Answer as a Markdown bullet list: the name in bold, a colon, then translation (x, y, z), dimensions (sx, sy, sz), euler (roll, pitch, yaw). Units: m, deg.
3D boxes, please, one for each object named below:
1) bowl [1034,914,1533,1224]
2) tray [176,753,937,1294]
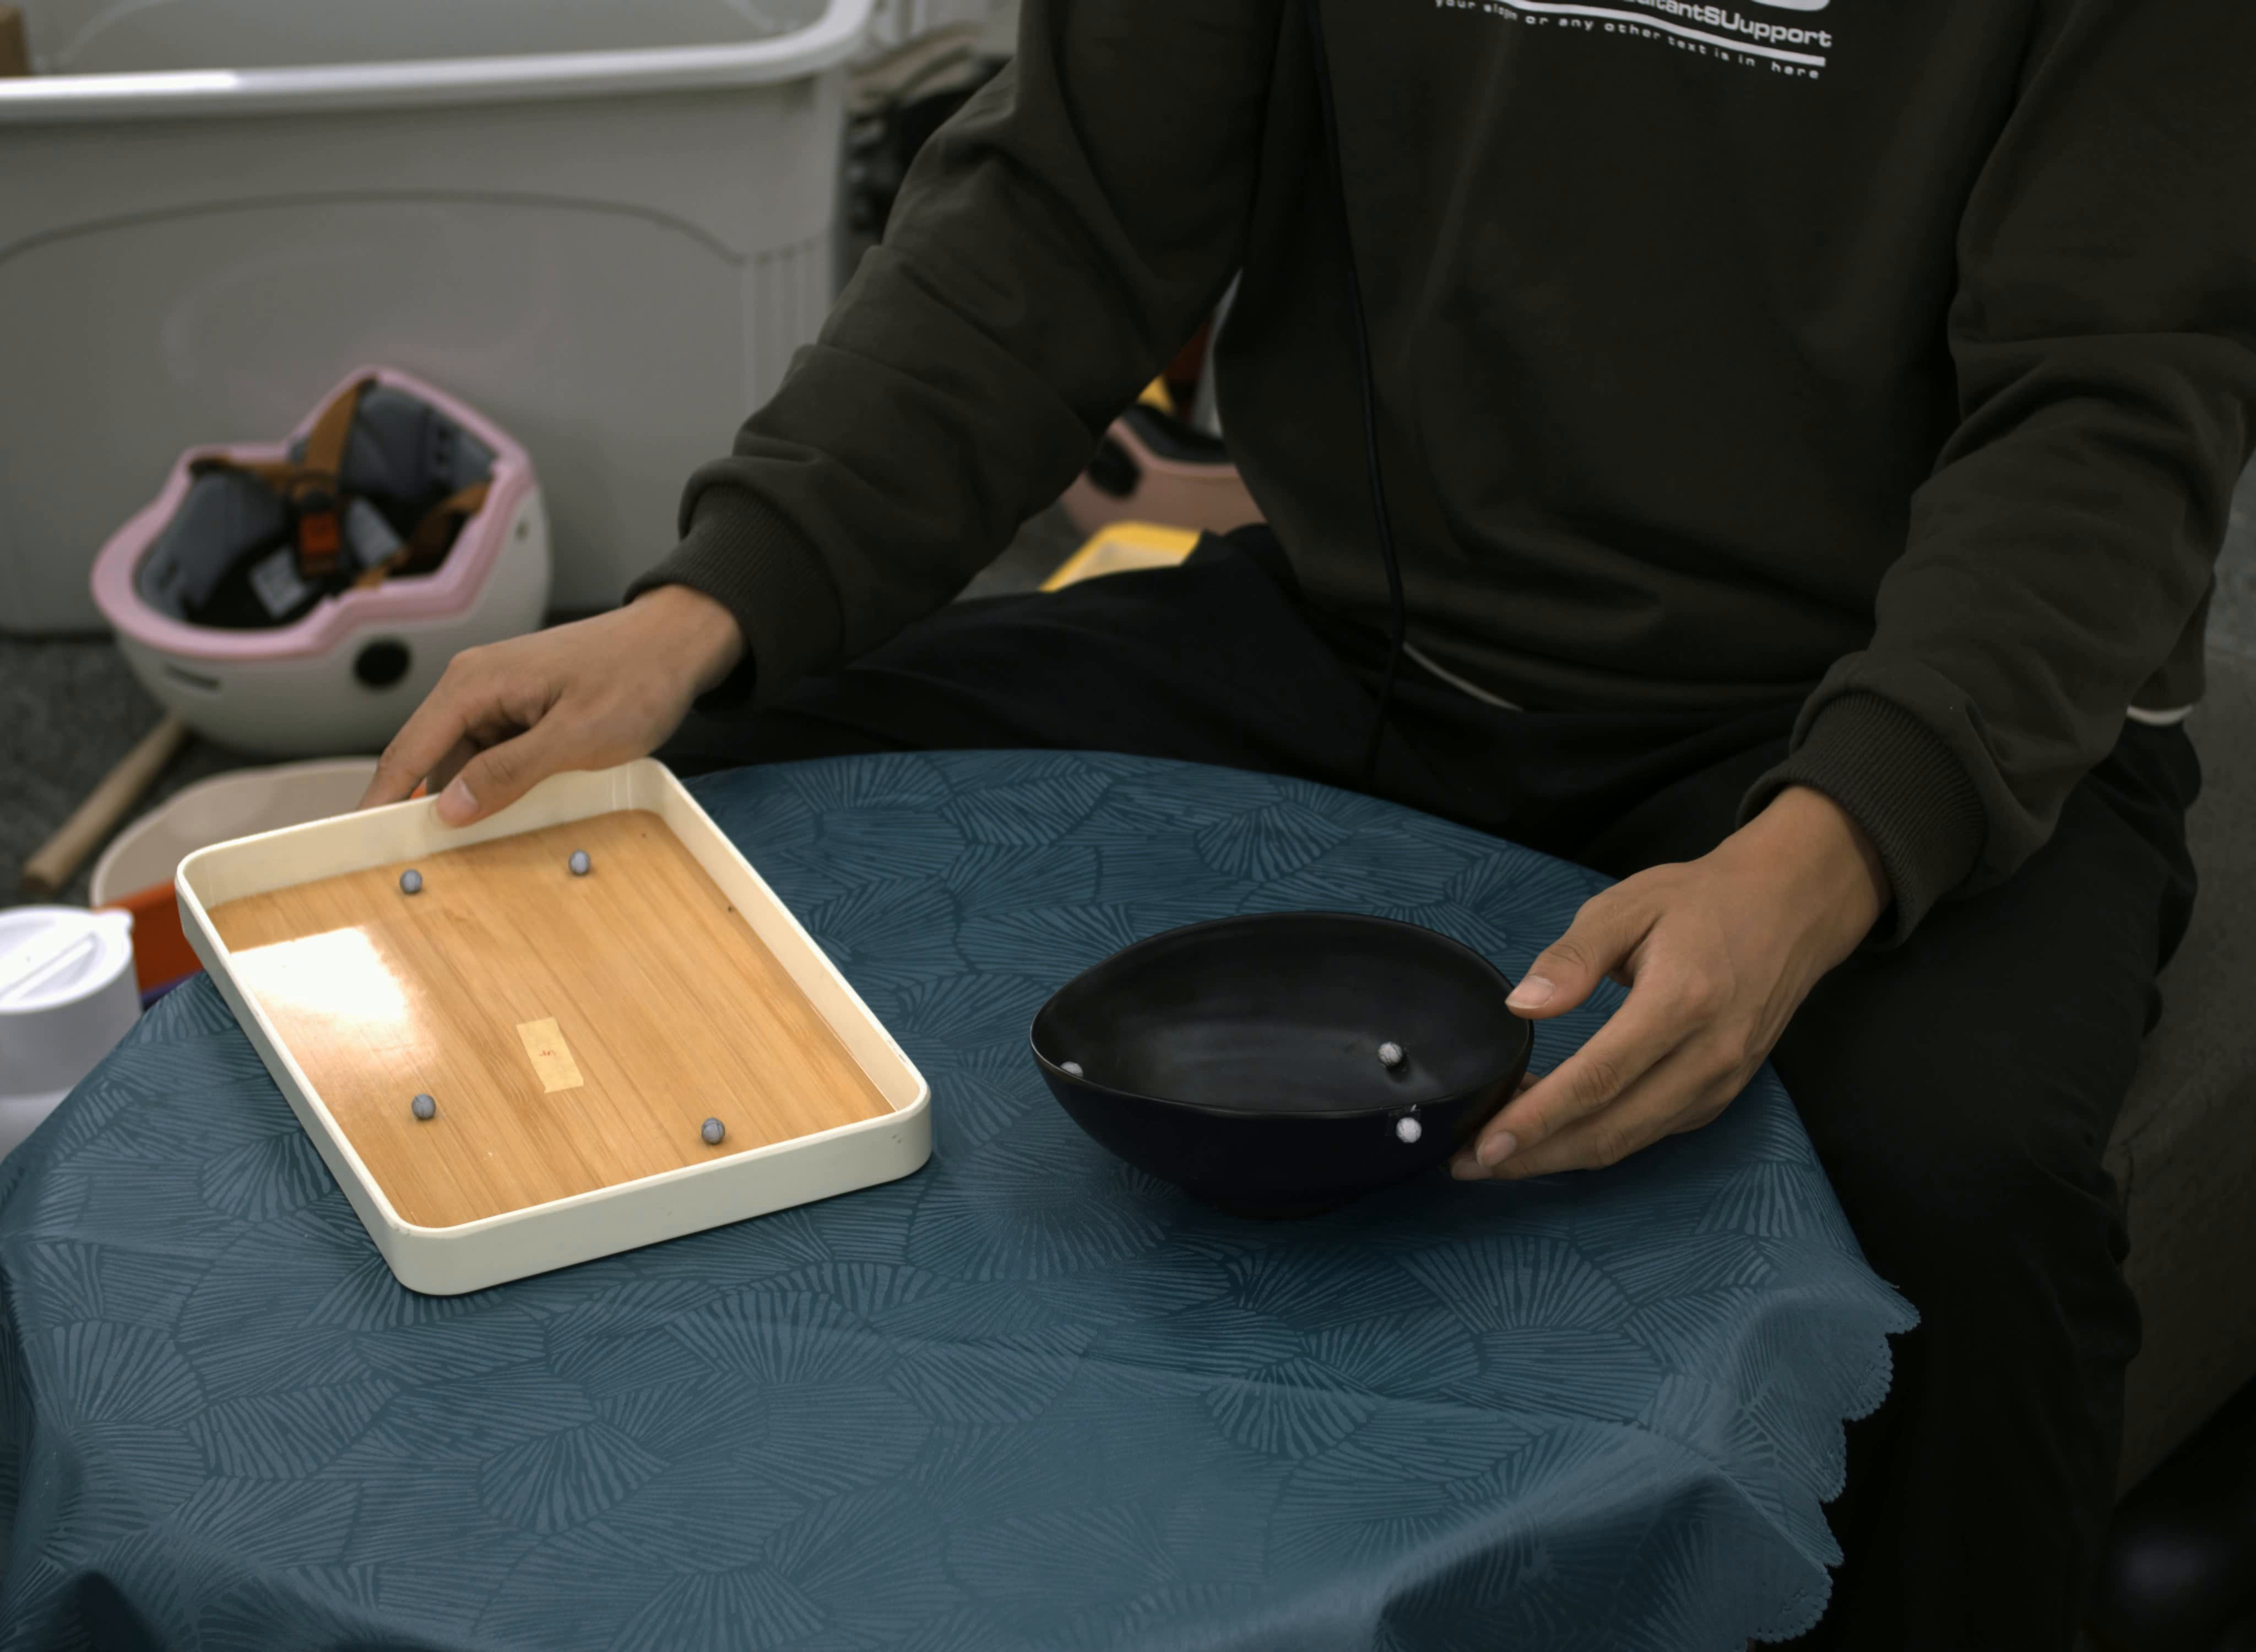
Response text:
- **bowl**: translation (0.050, 0.089, 1.859), dimensions (0.169, 0.066, 0.139), euler (4, 26, 15)
- **tray**: translation (-0.204, 0.064, 1.965), dimensions (0.192, 0.027, 0.302), euler (-14, 30, -20)
